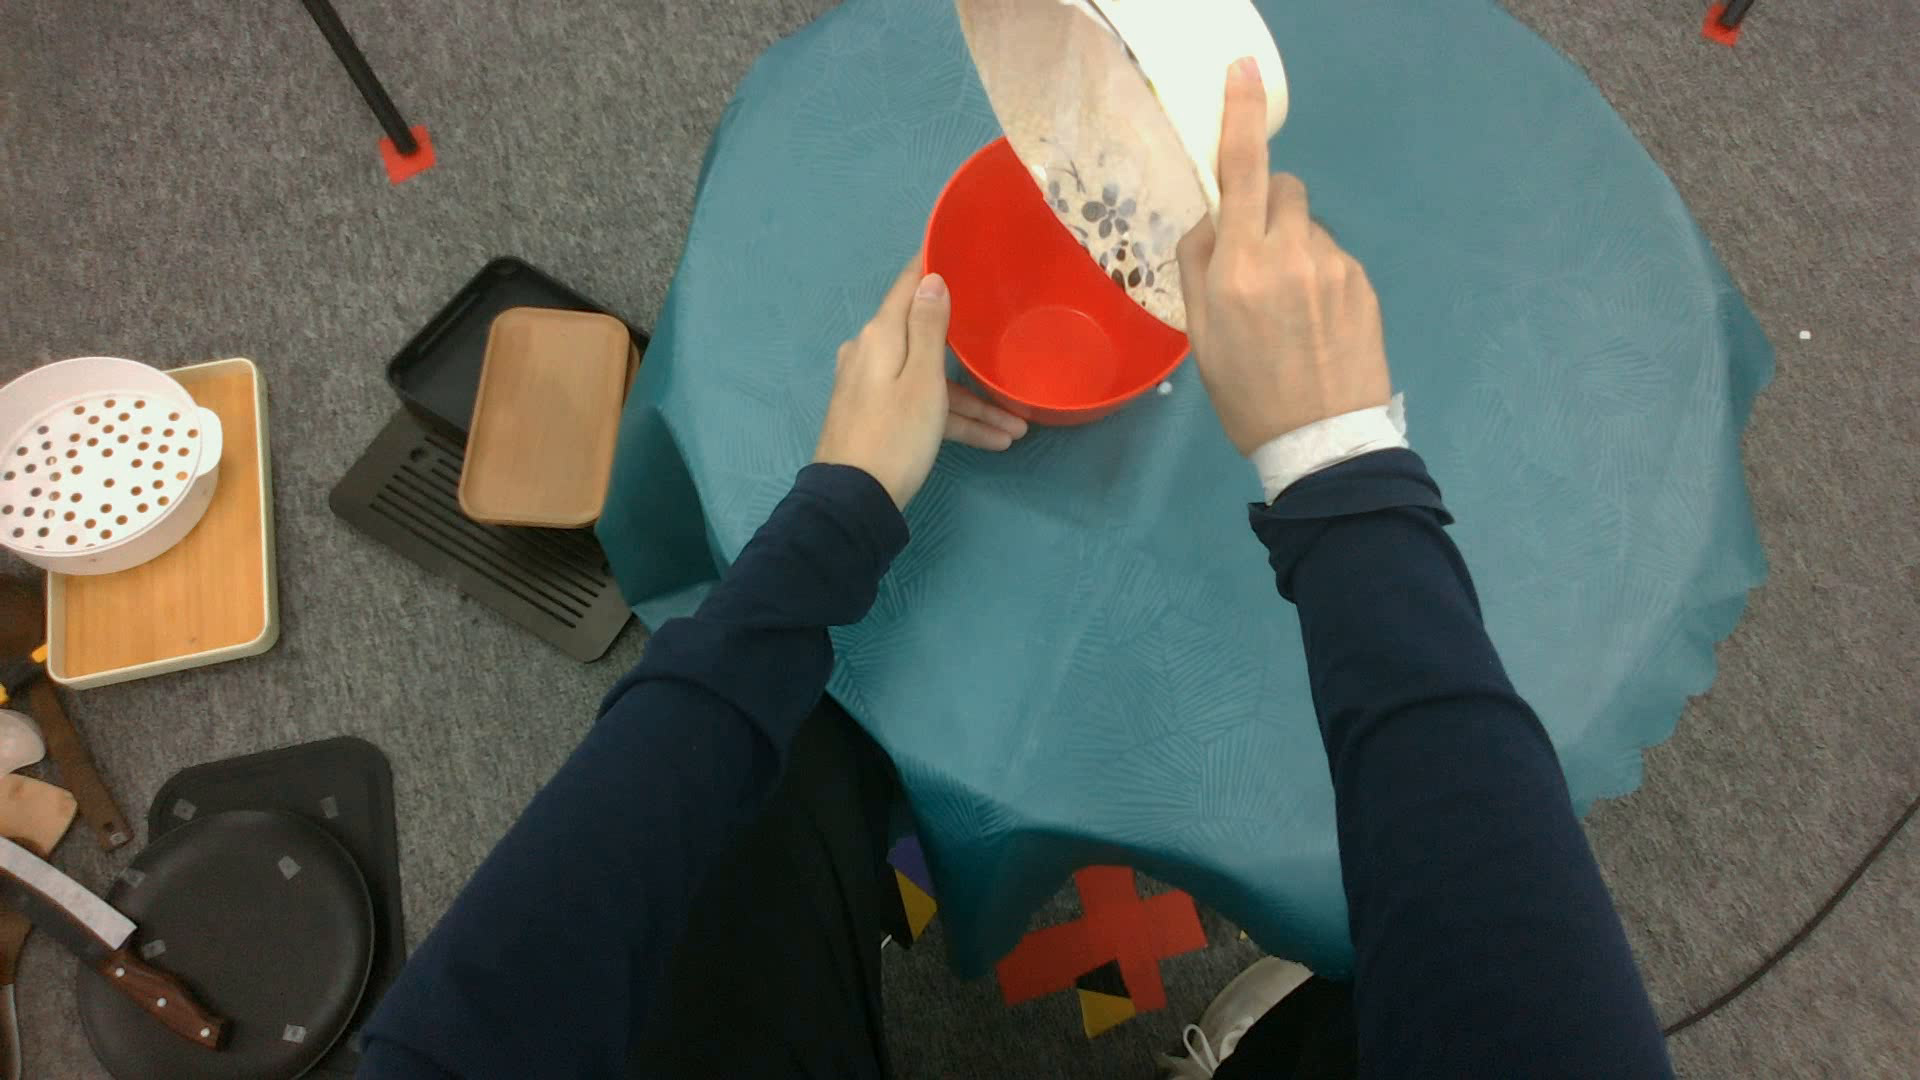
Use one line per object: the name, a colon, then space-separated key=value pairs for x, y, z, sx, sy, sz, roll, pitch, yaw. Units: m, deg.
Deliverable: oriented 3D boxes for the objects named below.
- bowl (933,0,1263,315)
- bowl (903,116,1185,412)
bowl: x=0.074 y=-0.203 z=0.603 sx=0.078 sy=0.203 sz=0.204 roll=-38 pitch=76 yaw=-3
bowl: x=0.044 y=-0.133 z=0.727 sx=0.148 sy=0.104 sz=0.148 roll=1 pitch=73 yaw=-2
